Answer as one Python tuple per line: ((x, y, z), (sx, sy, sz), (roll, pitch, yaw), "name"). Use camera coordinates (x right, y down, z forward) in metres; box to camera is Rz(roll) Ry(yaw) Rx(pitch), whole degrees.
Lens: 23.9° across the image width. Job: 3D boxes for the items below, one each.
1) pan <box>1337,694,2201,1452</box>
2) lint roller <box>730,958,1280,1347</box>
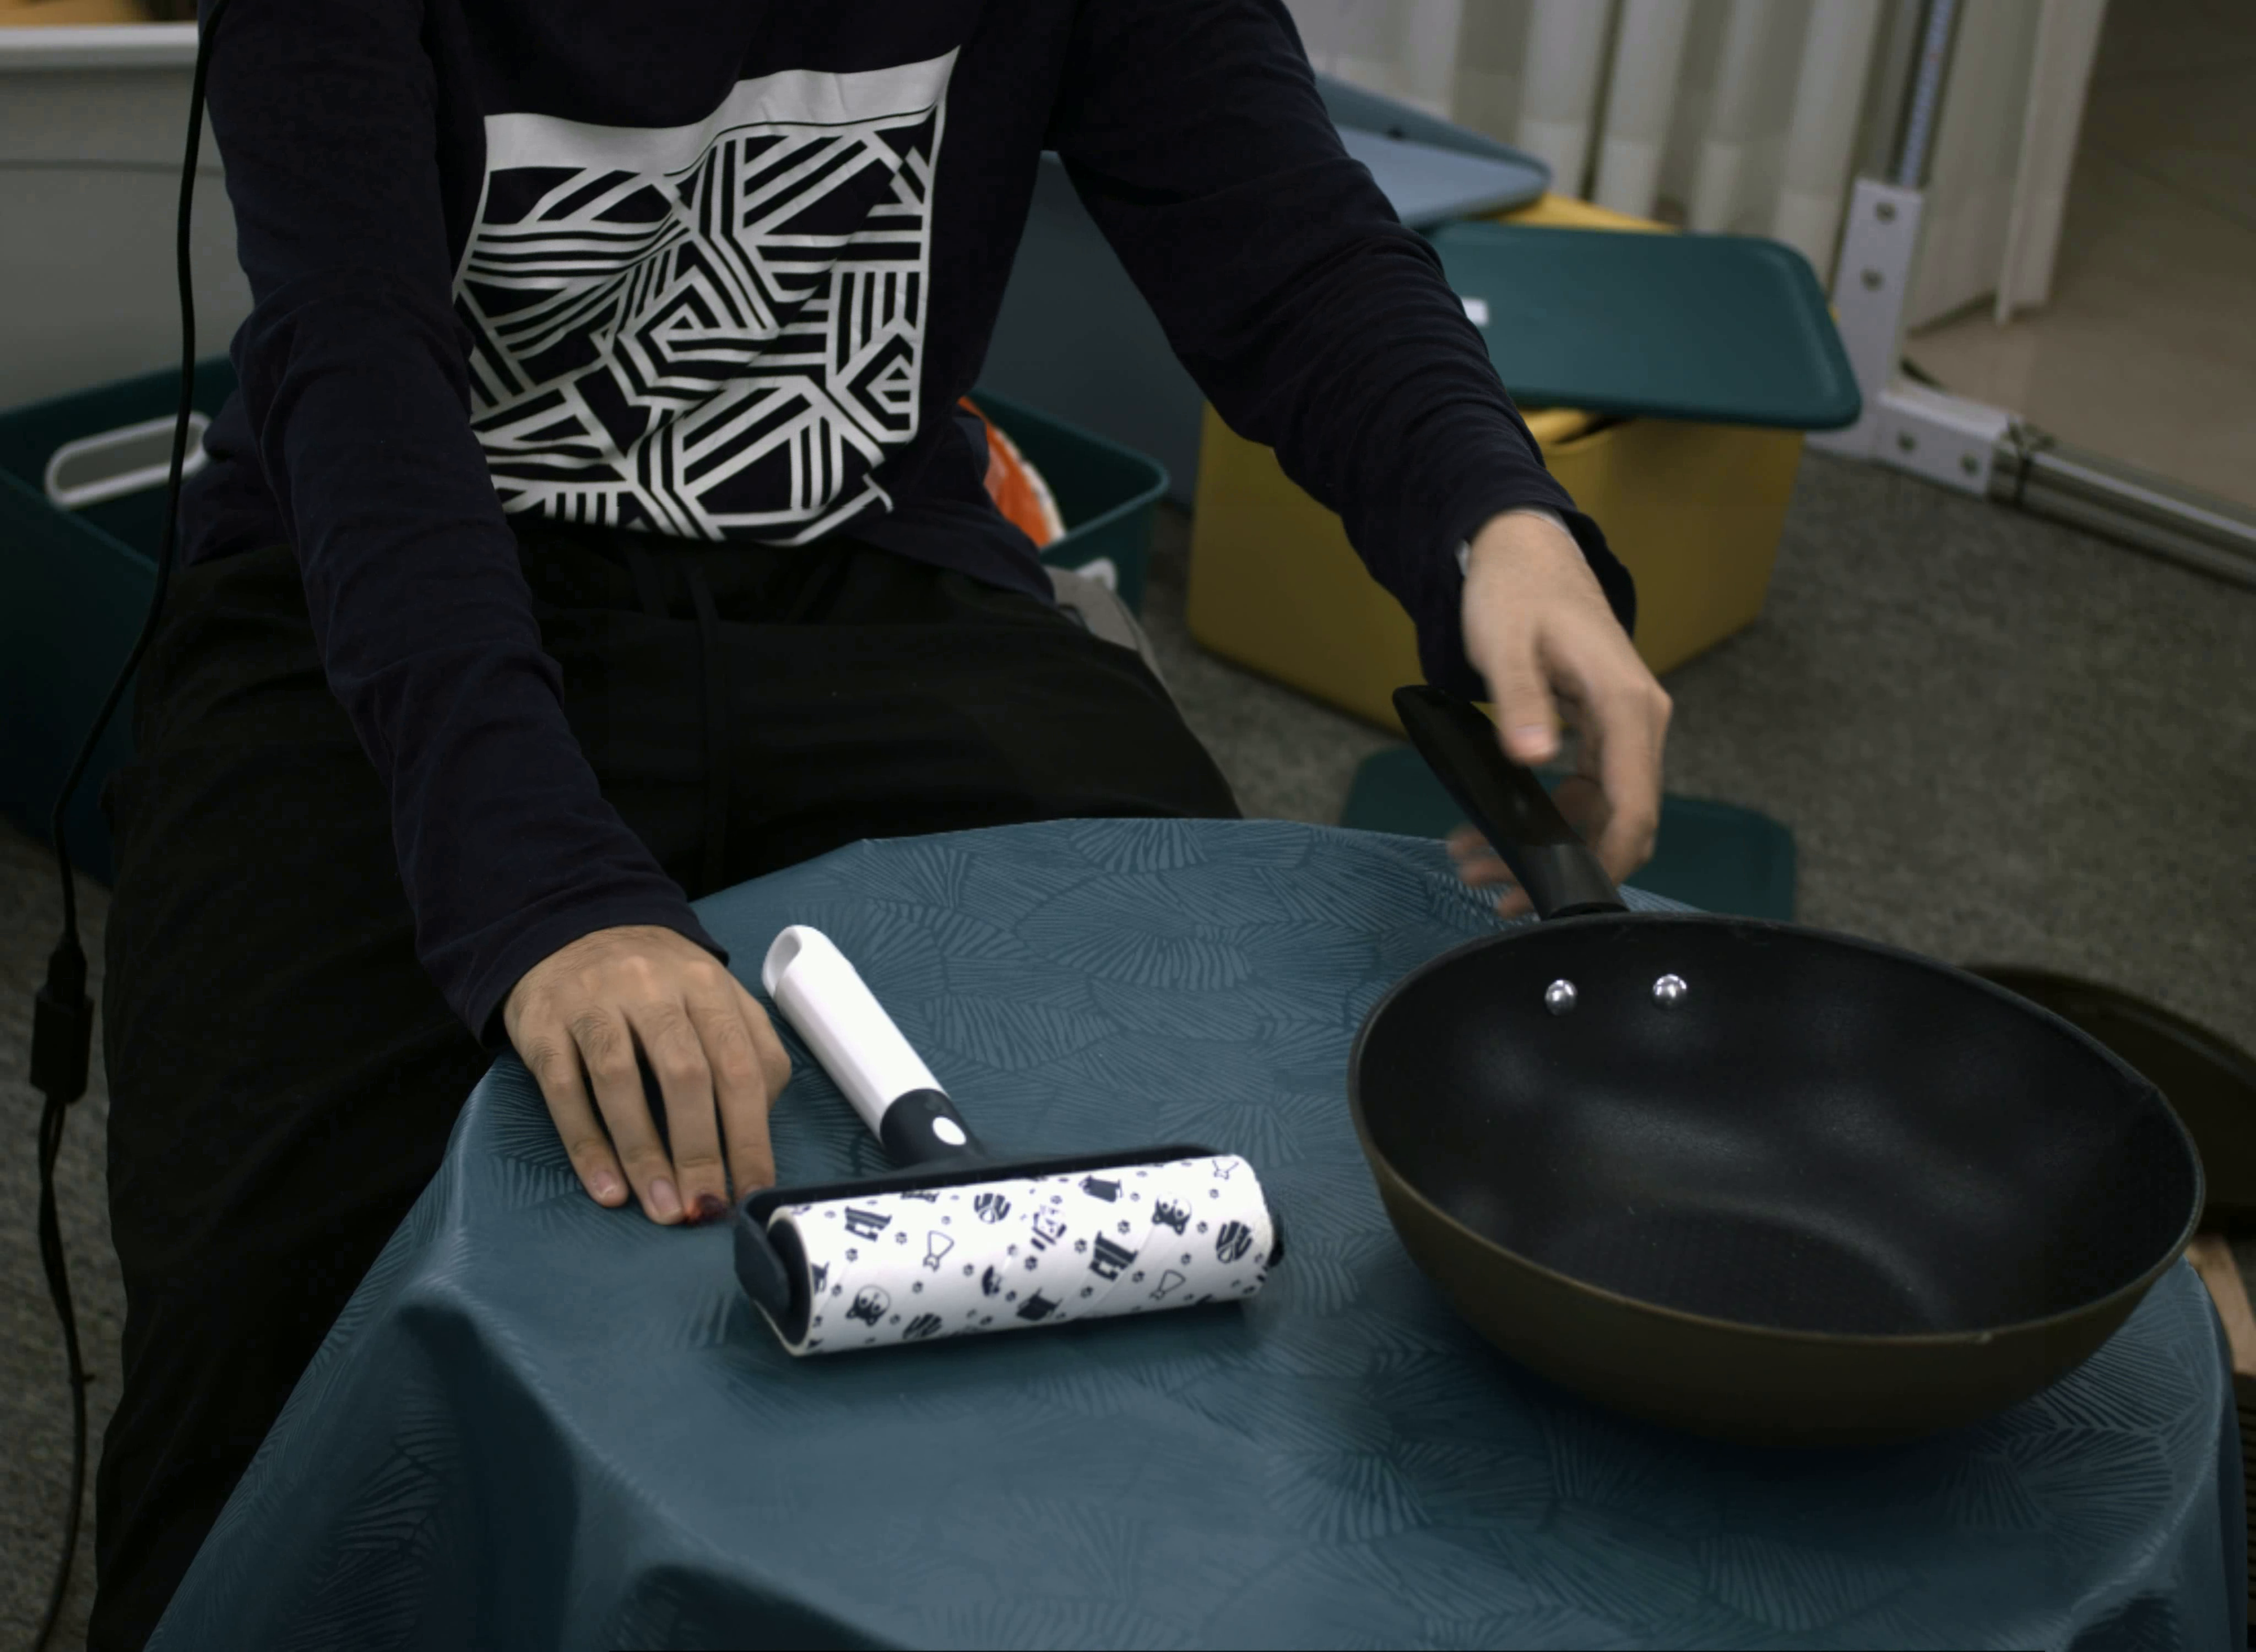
((0.178, 0.086, 1.827), (0.286, 0.086, 0.467), (-3, 27, -18), "pan")
((-0.076, 0.096, 1.801), (0.175, 0.050, 0.249), (-7, 26, -22), "lint roller")
